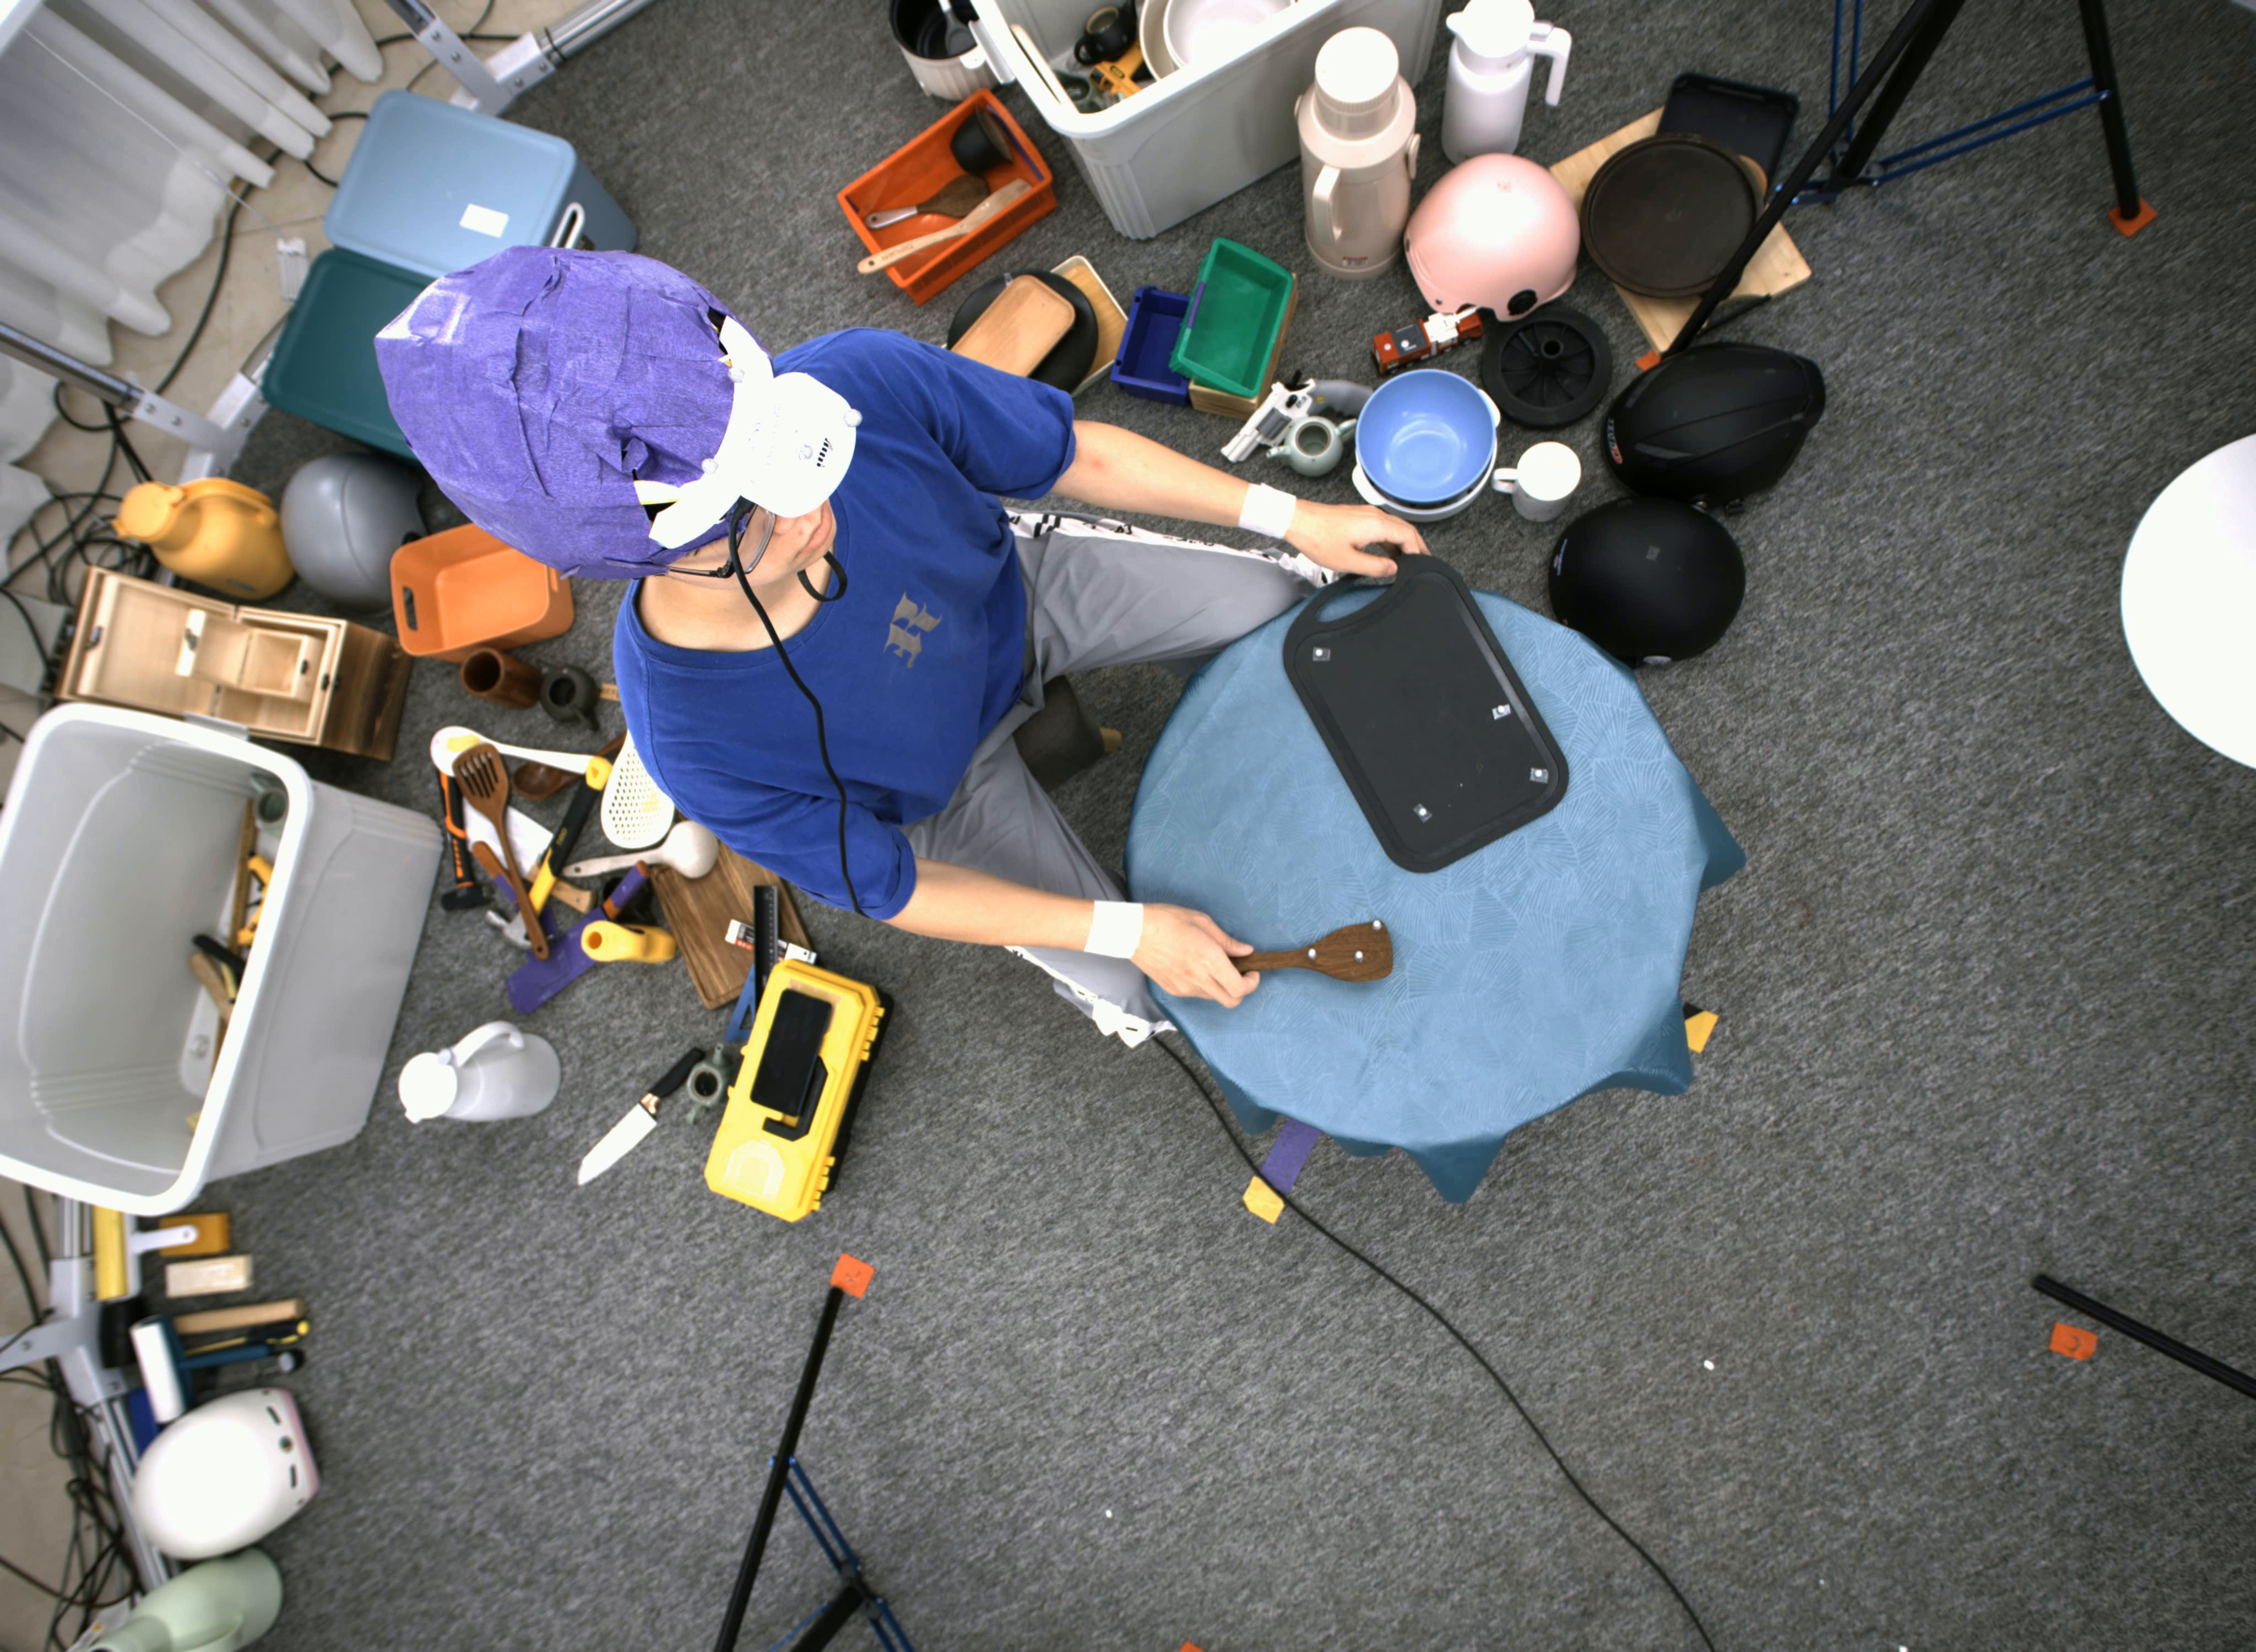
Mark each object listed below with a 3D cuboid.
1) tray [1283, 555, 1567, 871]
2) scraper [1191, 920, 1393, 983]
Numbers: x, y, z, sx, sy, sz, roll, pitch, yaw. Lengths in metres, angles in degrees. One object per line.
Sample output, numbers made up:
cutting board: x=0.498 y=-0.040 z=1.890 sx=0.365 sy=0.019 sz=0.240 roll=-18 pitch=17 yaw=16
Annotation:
tray: x=0.307 y=-0.128 z=1.453 sx=0.212 sy=0.010 sz=0.324 roll=-28 pitch=84 yaw=10
scraper: x=0.170 y=0.139 z=1.451 sx=0.212 sy=0.011 sz=0.074 roll=-7 pitch=52 yaw=10
